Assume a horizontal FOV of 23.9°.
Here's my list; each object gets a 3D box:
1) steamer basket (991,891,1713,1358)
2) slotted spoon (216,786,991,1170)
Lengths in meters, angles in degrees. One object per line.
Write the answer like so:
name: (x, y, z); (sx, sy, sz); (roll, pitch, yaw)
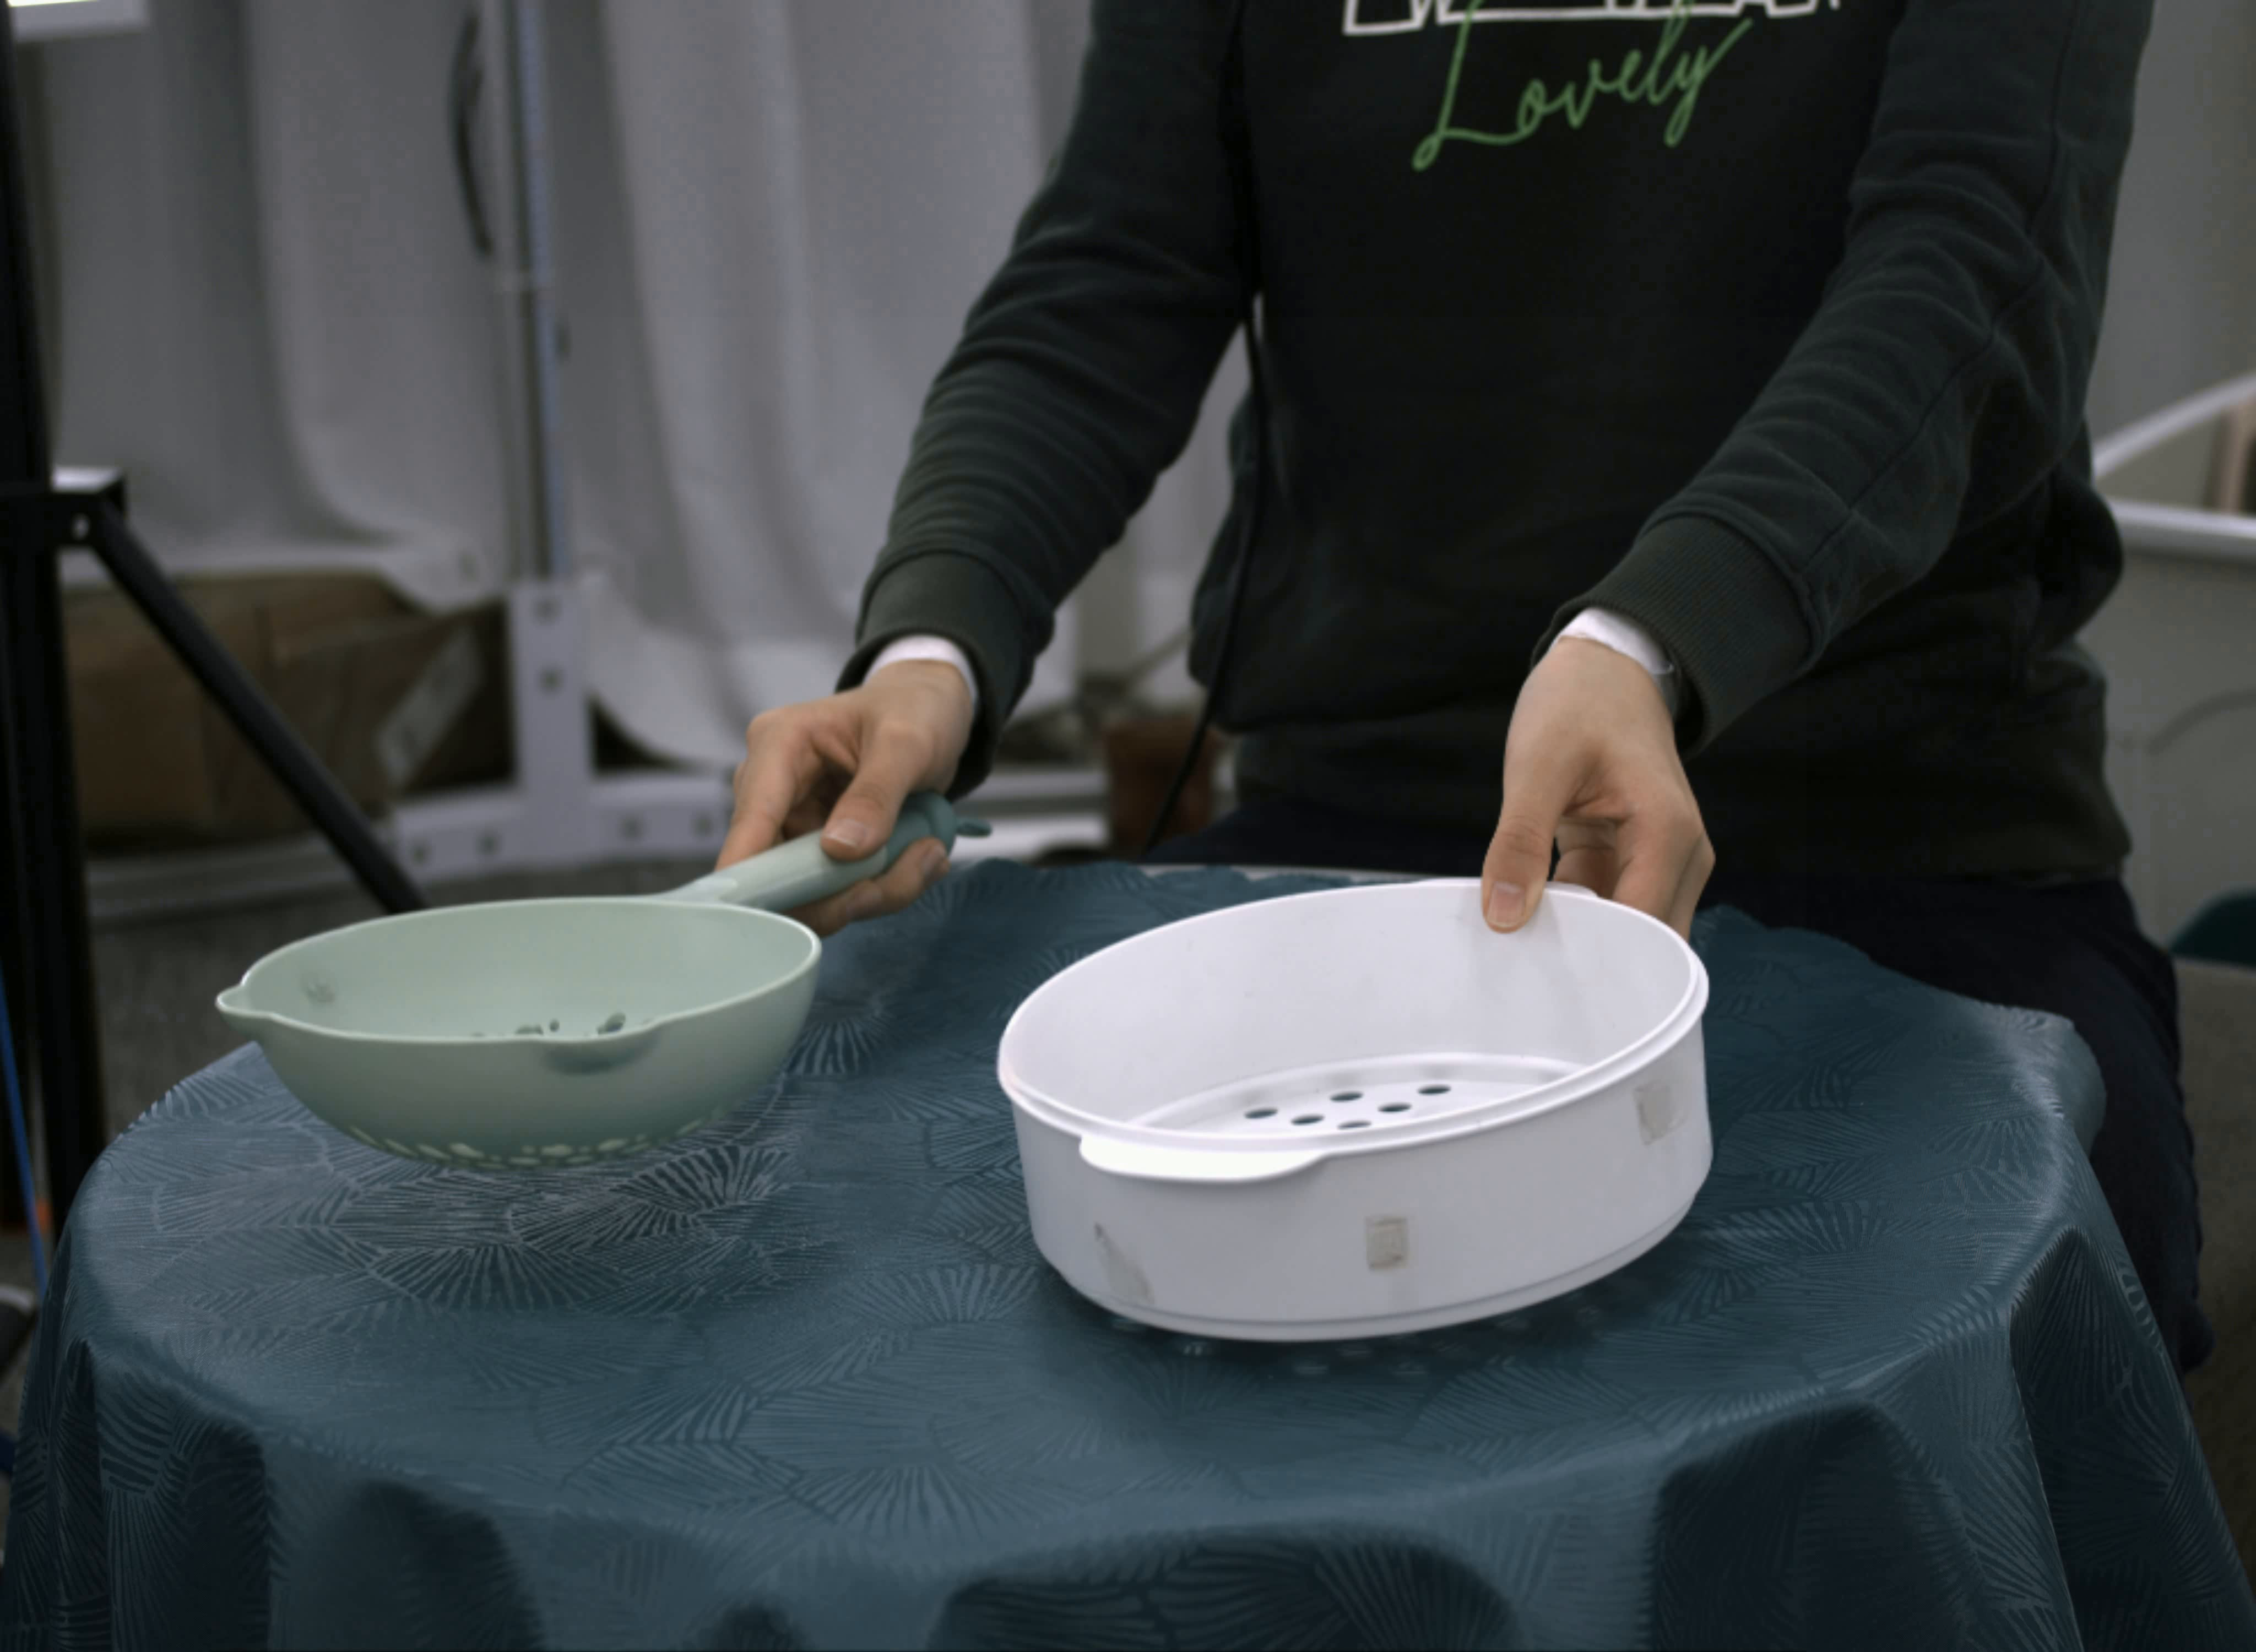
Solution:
steamer basket: (0.064, 0.083, 1.483); (0.205, 0.069, 0.227); (3, 20, 28)
slotted spoon: (-0.131, 0.031, 1.638); (0.172, 0.075, 0.354); (4, 22, 26)
